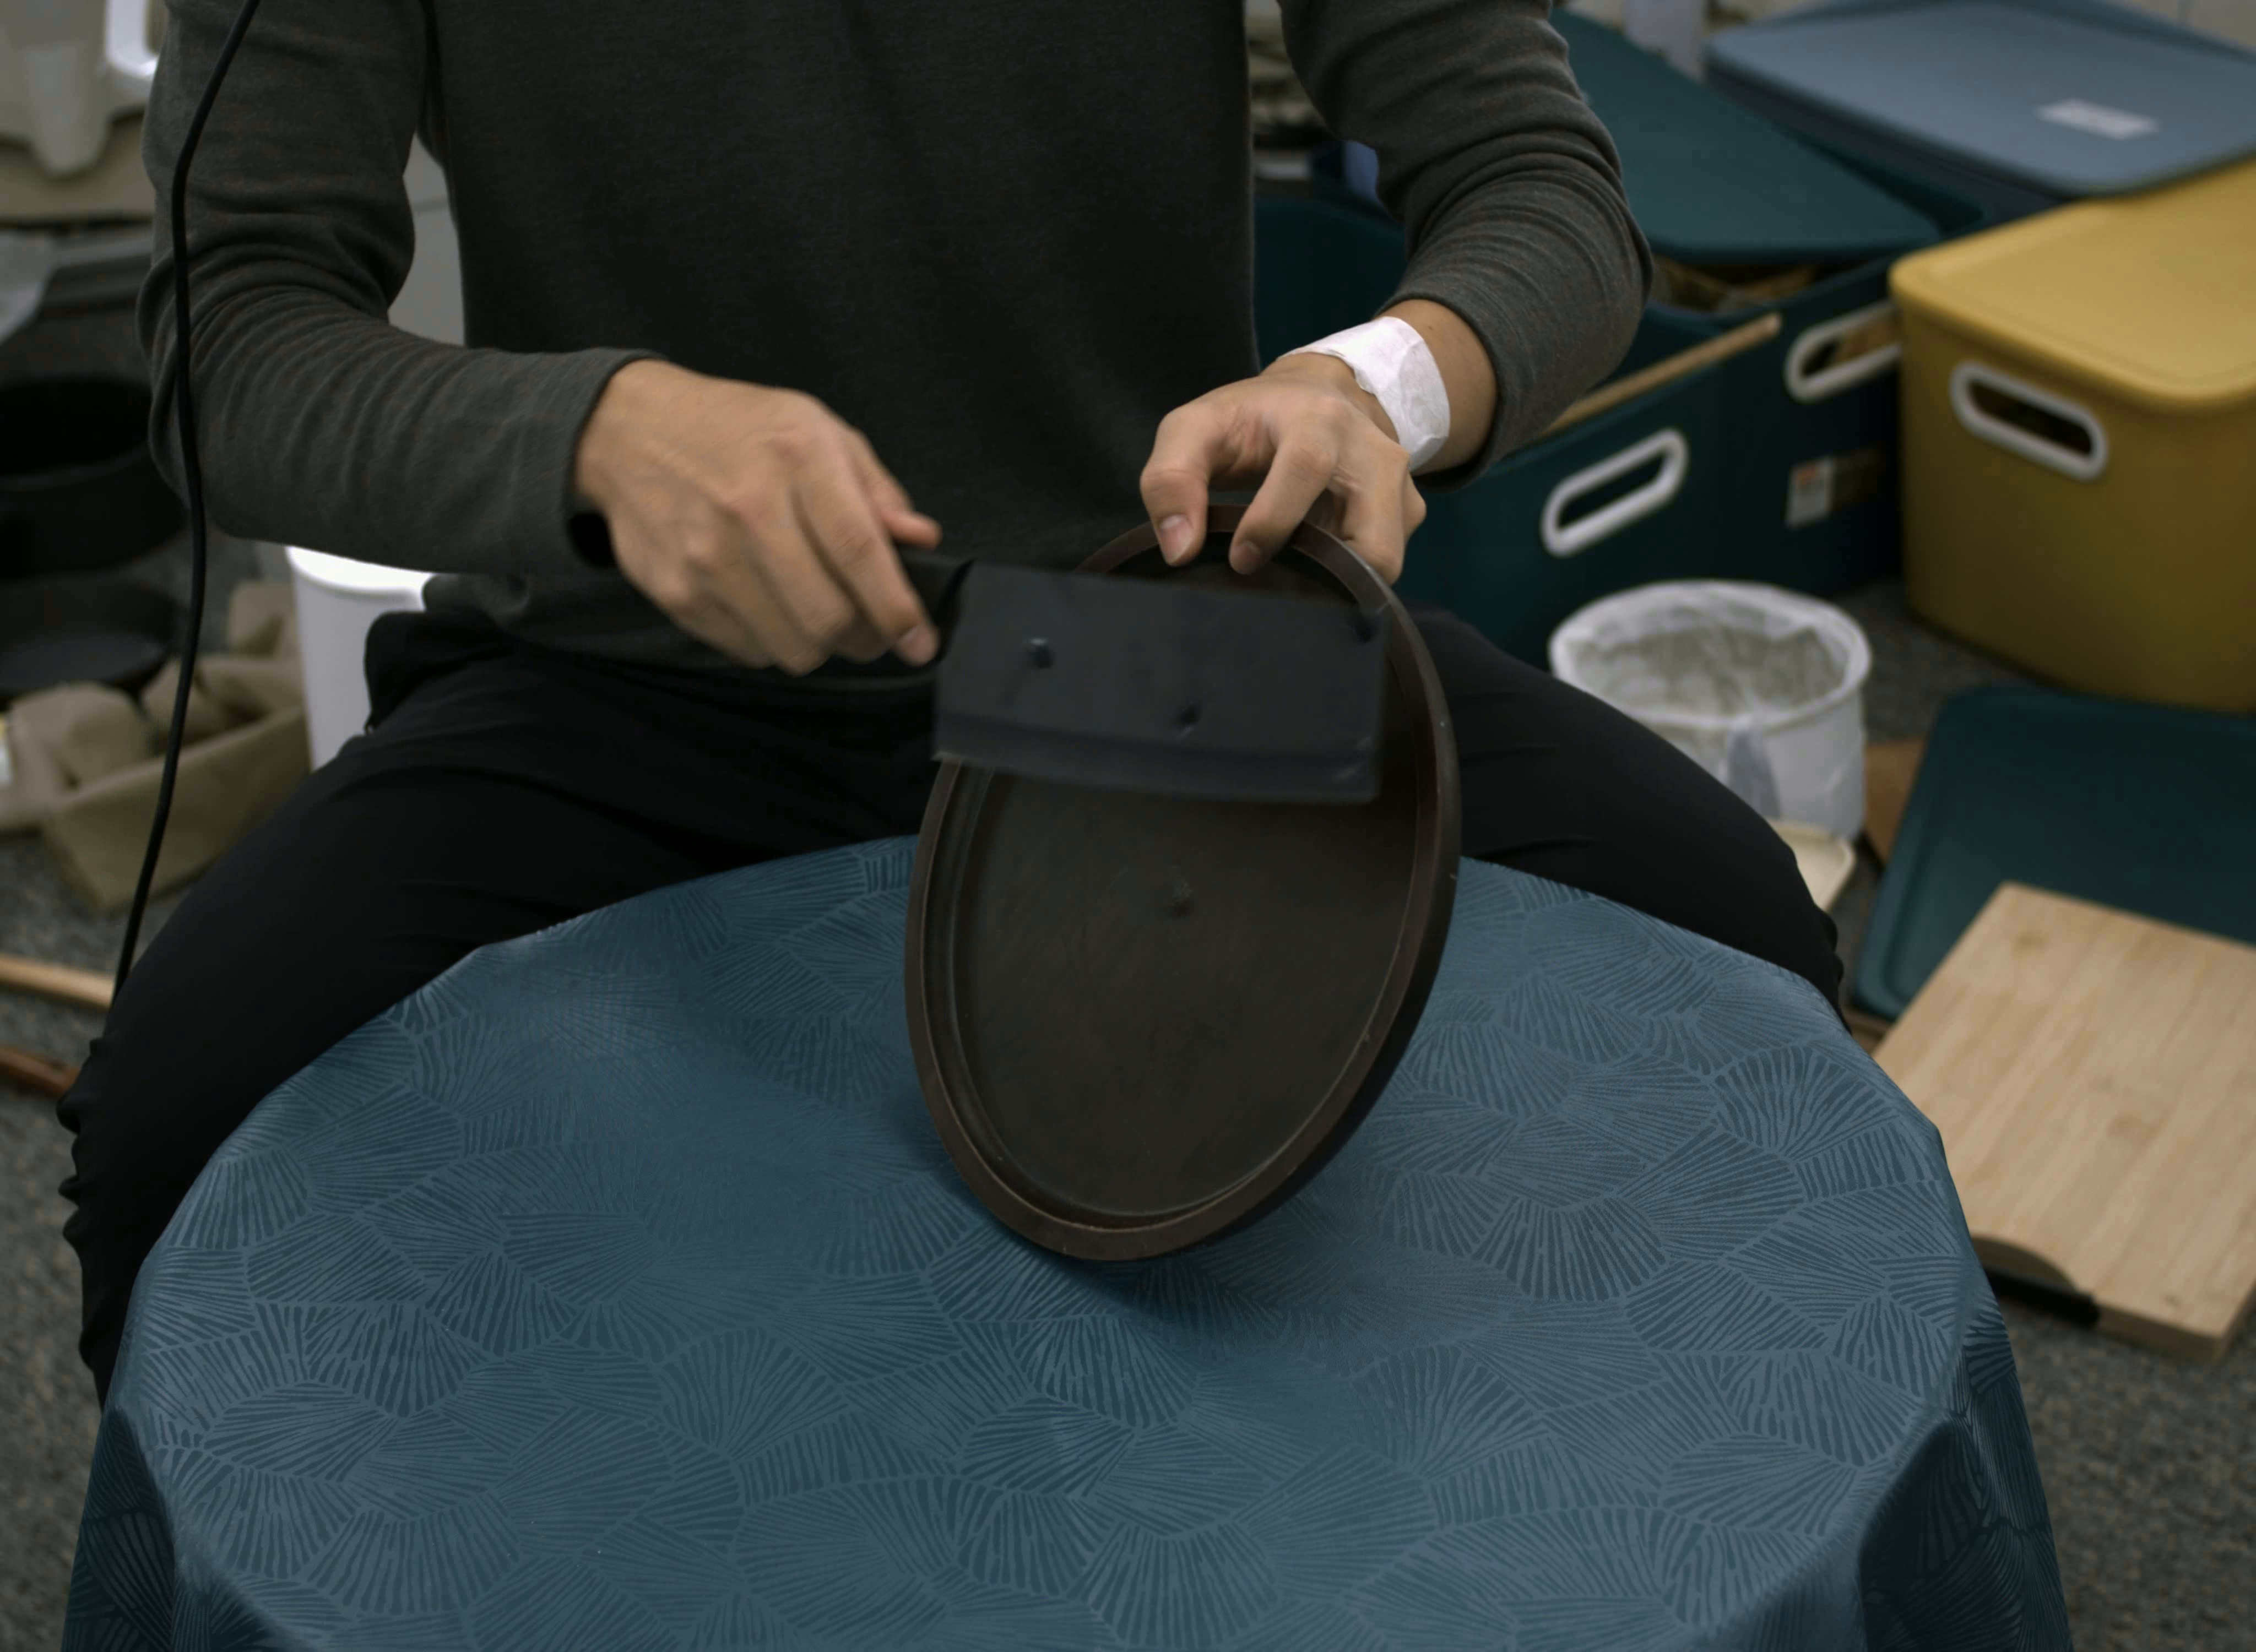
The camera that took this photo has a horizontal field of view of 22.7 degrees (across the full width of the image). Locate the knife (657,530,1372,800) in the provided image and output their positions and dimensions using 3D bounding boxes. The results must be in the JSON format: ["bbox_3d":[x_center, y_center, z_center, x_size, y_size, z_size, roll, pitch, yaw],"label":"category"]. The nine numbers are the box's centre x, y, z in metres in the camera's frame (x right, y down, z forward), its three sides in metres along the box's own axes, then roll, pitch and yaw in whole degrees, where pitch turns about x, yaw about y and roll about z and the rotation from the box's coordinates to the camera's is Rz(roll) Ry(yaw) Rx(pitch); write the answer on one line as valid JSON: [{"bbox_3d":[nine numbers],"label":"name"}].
[{"bbox_3d":[-0.041,-0.055,1.822,0.301,0.081,0.021,13,8,38],"label":"knife"}]

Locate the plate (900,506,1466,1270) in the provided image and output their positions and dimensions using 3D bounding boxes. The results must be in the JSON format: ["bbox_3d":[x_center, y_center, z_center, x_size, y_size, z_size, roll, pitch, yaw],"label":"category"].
[{"bbox_3d":[0.017,0.020,1.832,0.029,0.254,0.255,17,9,-41],"label":"plate"}]
